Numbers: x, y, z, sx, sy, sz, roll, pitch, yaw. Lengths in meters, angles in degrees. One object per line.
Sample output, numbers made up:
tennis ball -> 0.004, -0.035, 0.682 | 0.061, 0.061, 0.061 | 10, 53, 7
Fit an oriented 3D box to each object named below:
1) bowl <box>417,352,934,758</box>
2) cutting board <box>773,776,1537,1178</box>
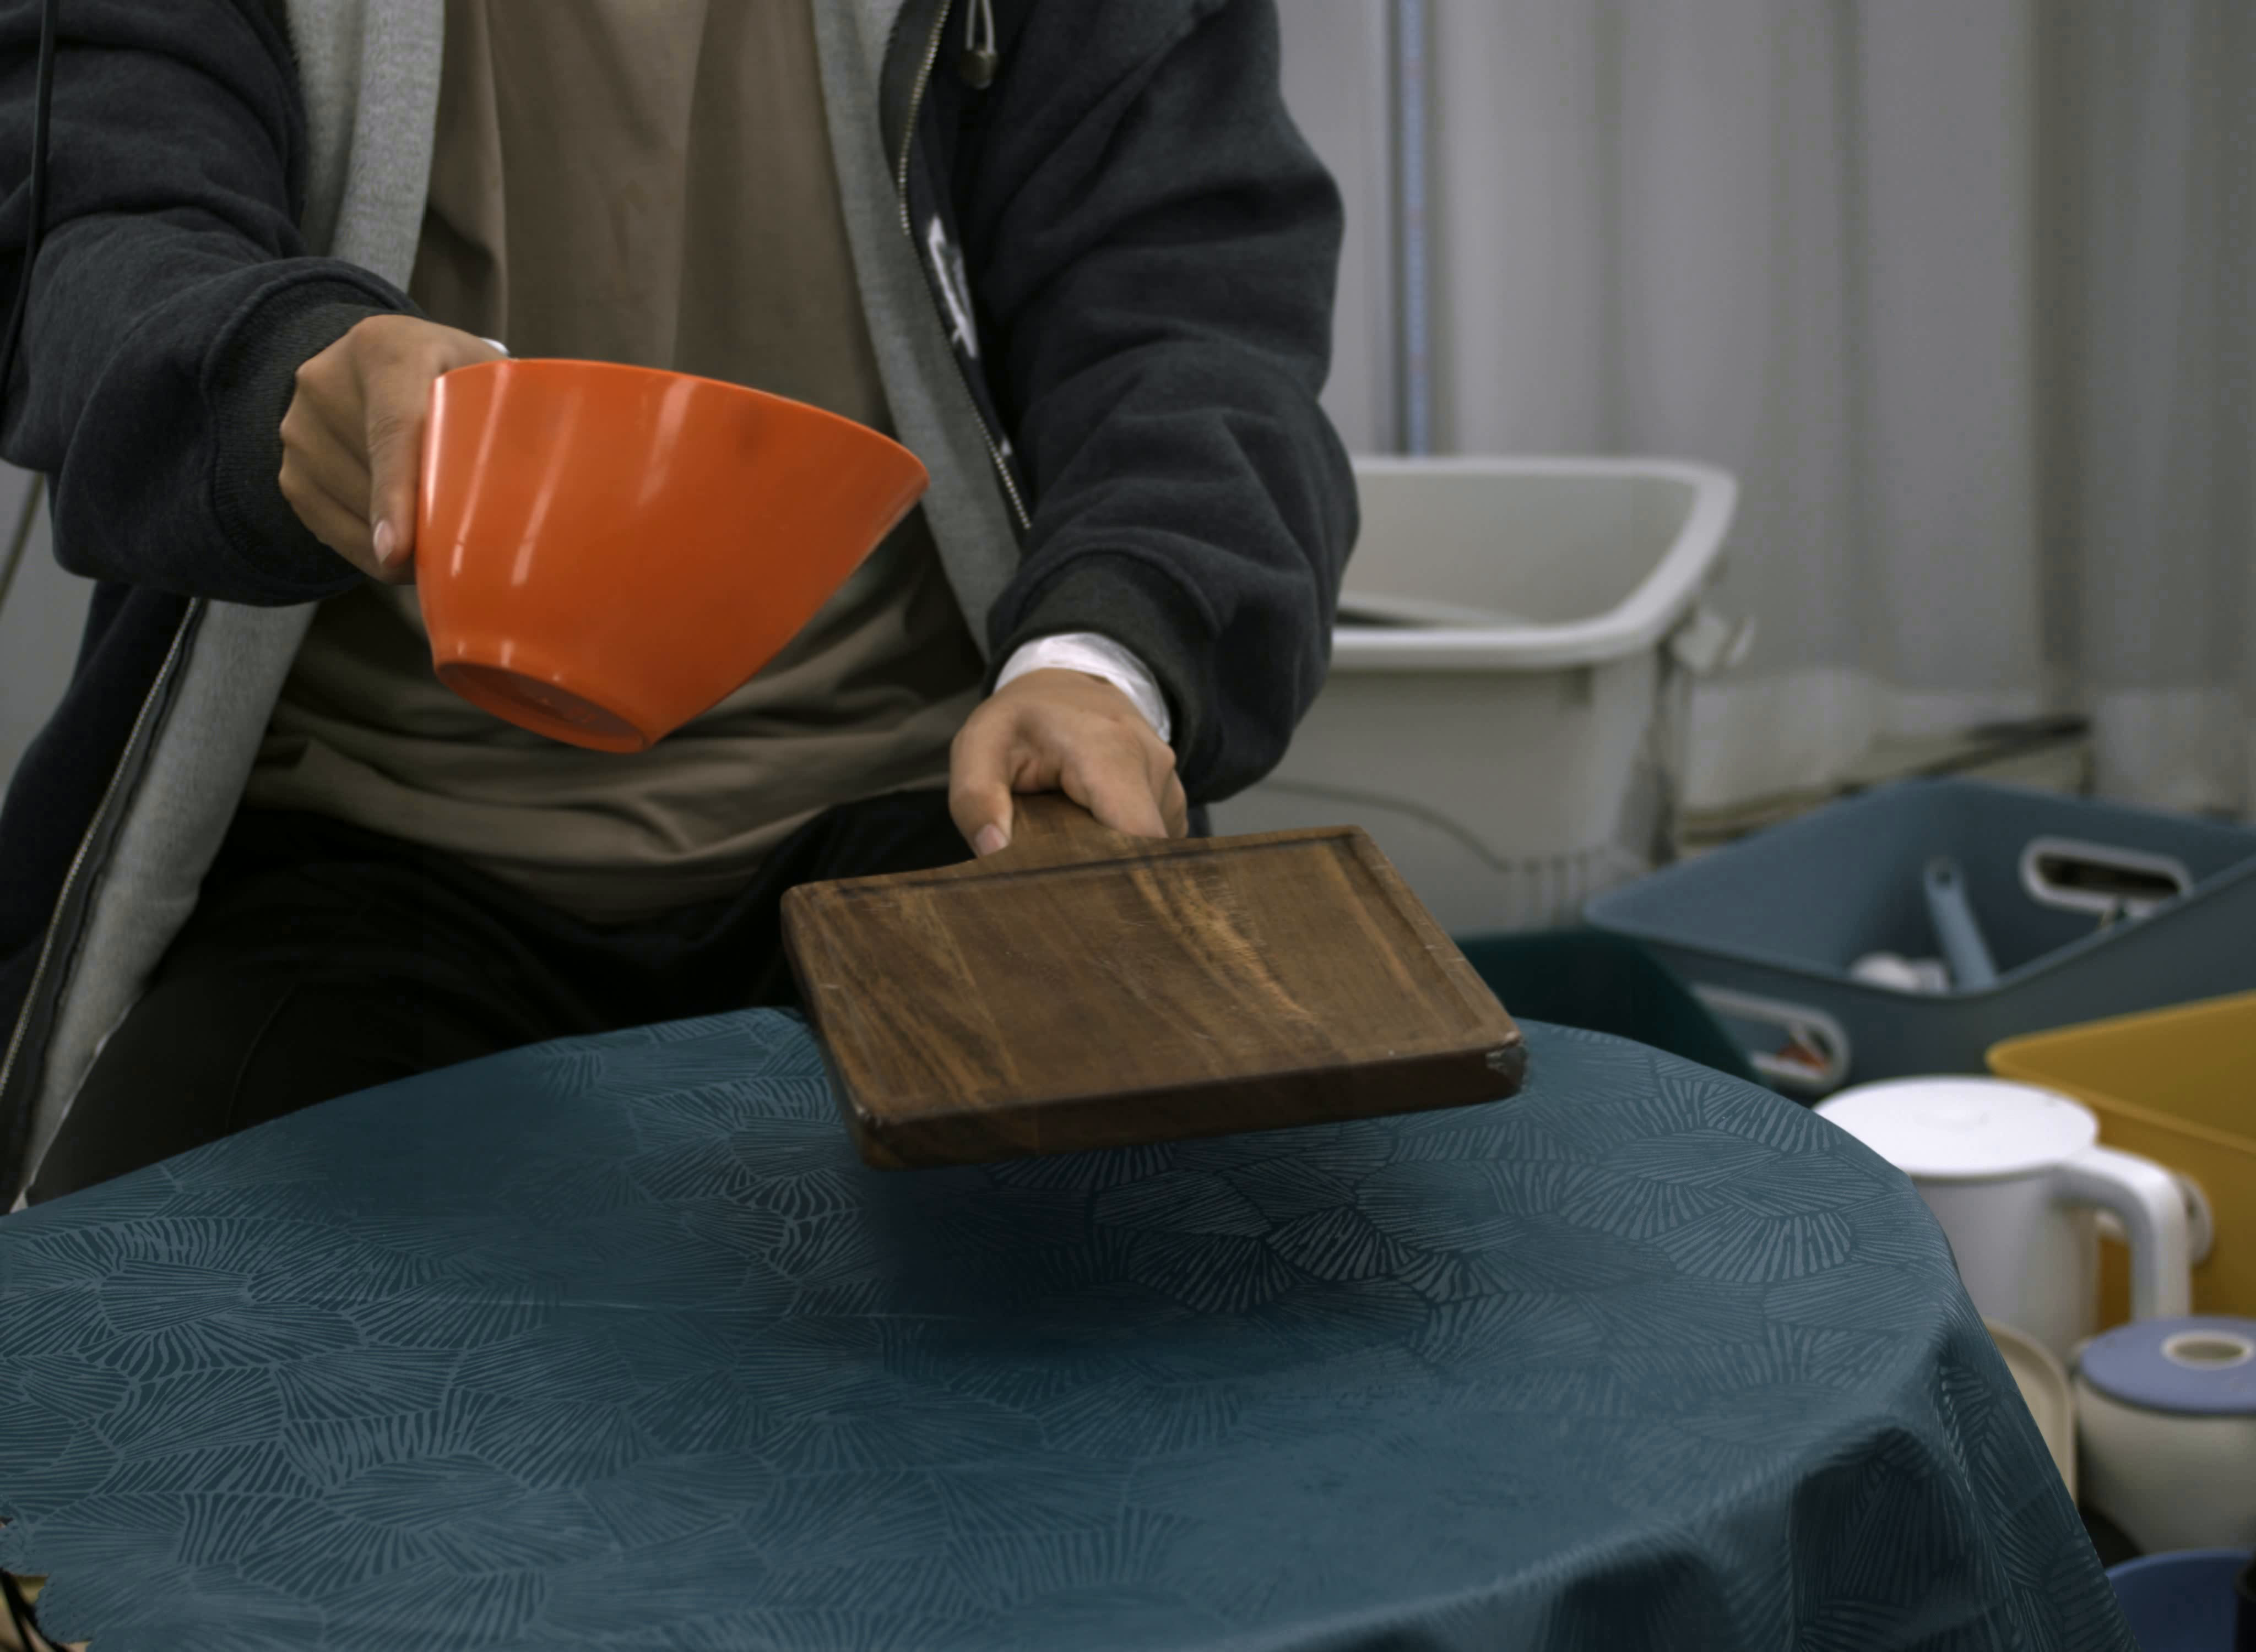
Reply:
bowl -> -0.143, -0.076, 1.601 | 0.148, 0.105, 0.147 | 19, -15, 5
cutting board -> -0.006, 0.037, 1.724 | 0.200, 0.023, 0.355 | -7, 15, -8
